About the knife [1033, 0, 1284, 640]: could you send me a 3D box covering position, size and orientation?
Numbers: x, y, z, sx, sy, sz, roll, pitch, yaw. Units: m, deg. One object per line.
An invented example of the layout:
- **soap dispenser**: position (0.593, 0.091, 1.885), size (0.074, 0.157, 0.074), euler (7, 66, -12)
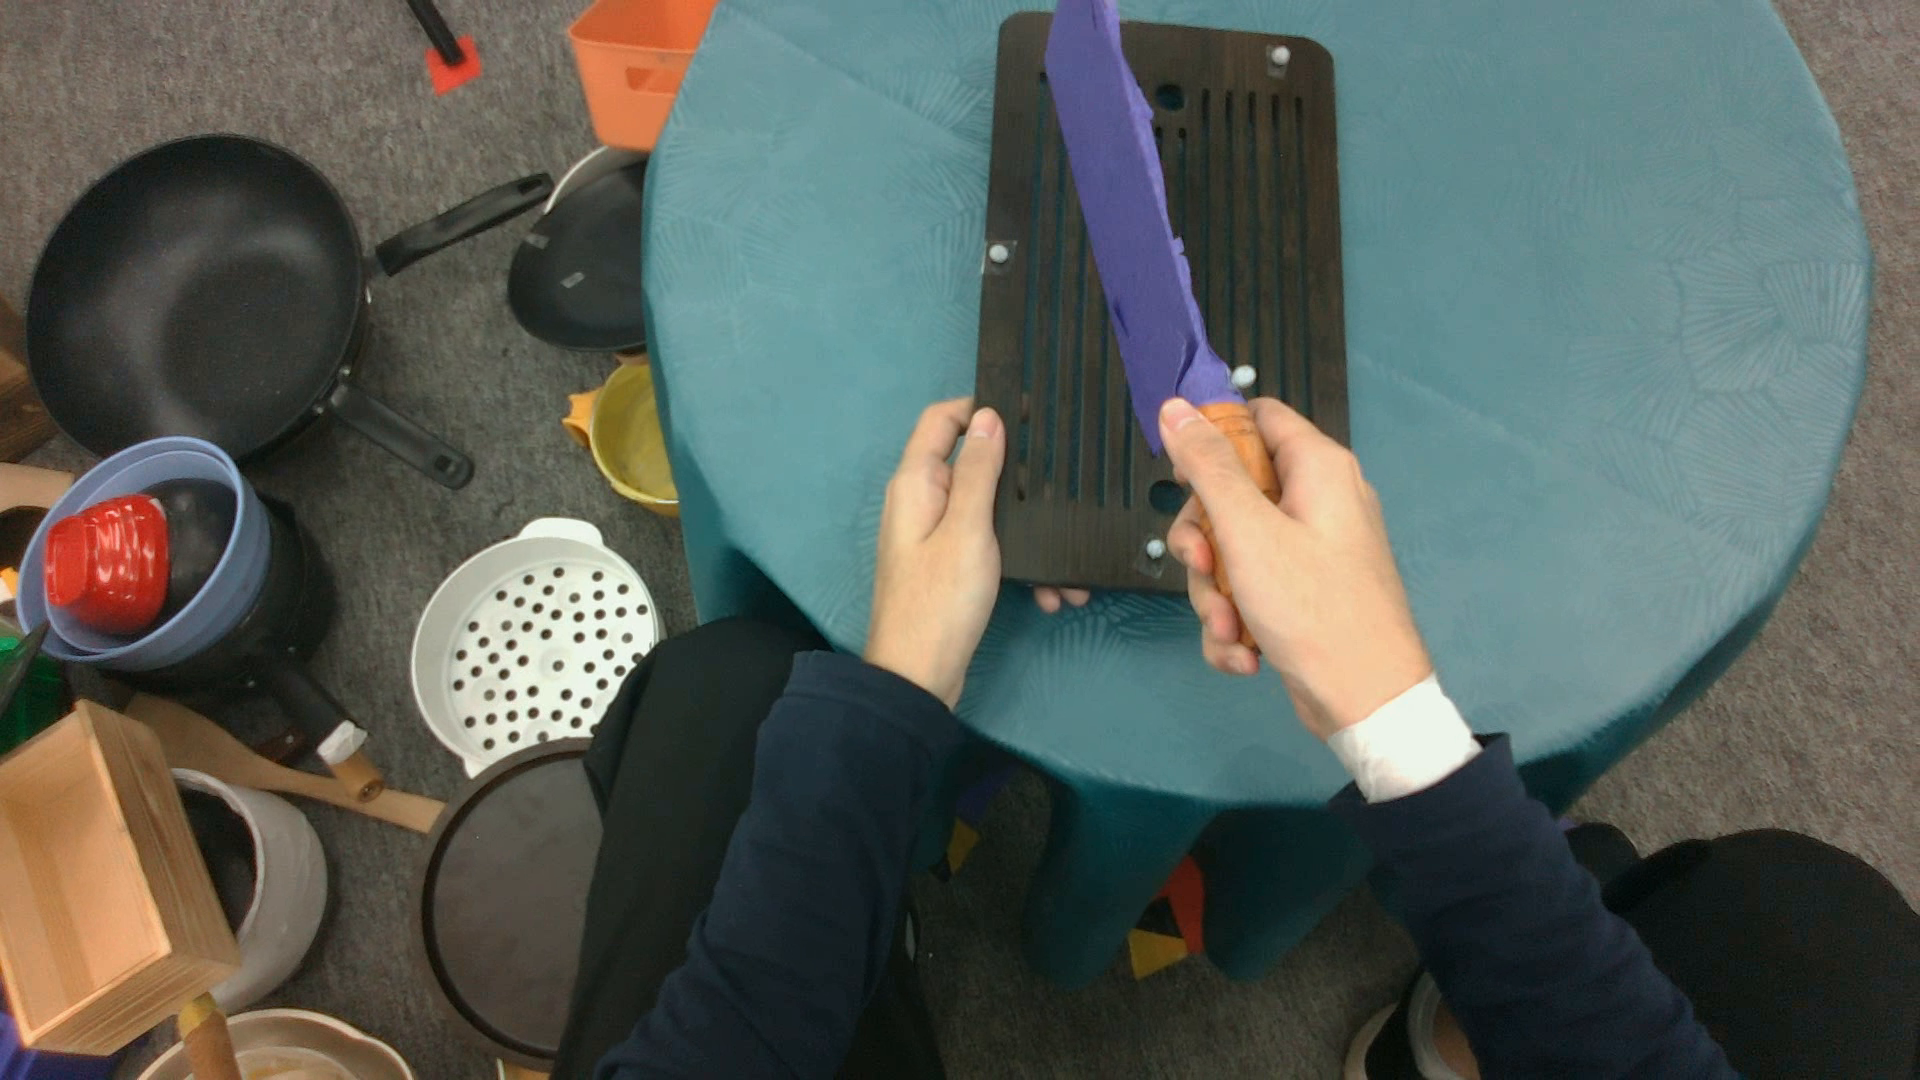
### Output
- **knife**: position (0.073, -0.104, 0.565), size (0.032, 0.103, 0.316), euler (-8, 72, -7)

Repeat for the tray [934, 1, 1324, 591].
- **tray**: position (0.078, -0.123, 0.647), size (0.170, 0.018, 0.307), euler (4, 68, -4)
